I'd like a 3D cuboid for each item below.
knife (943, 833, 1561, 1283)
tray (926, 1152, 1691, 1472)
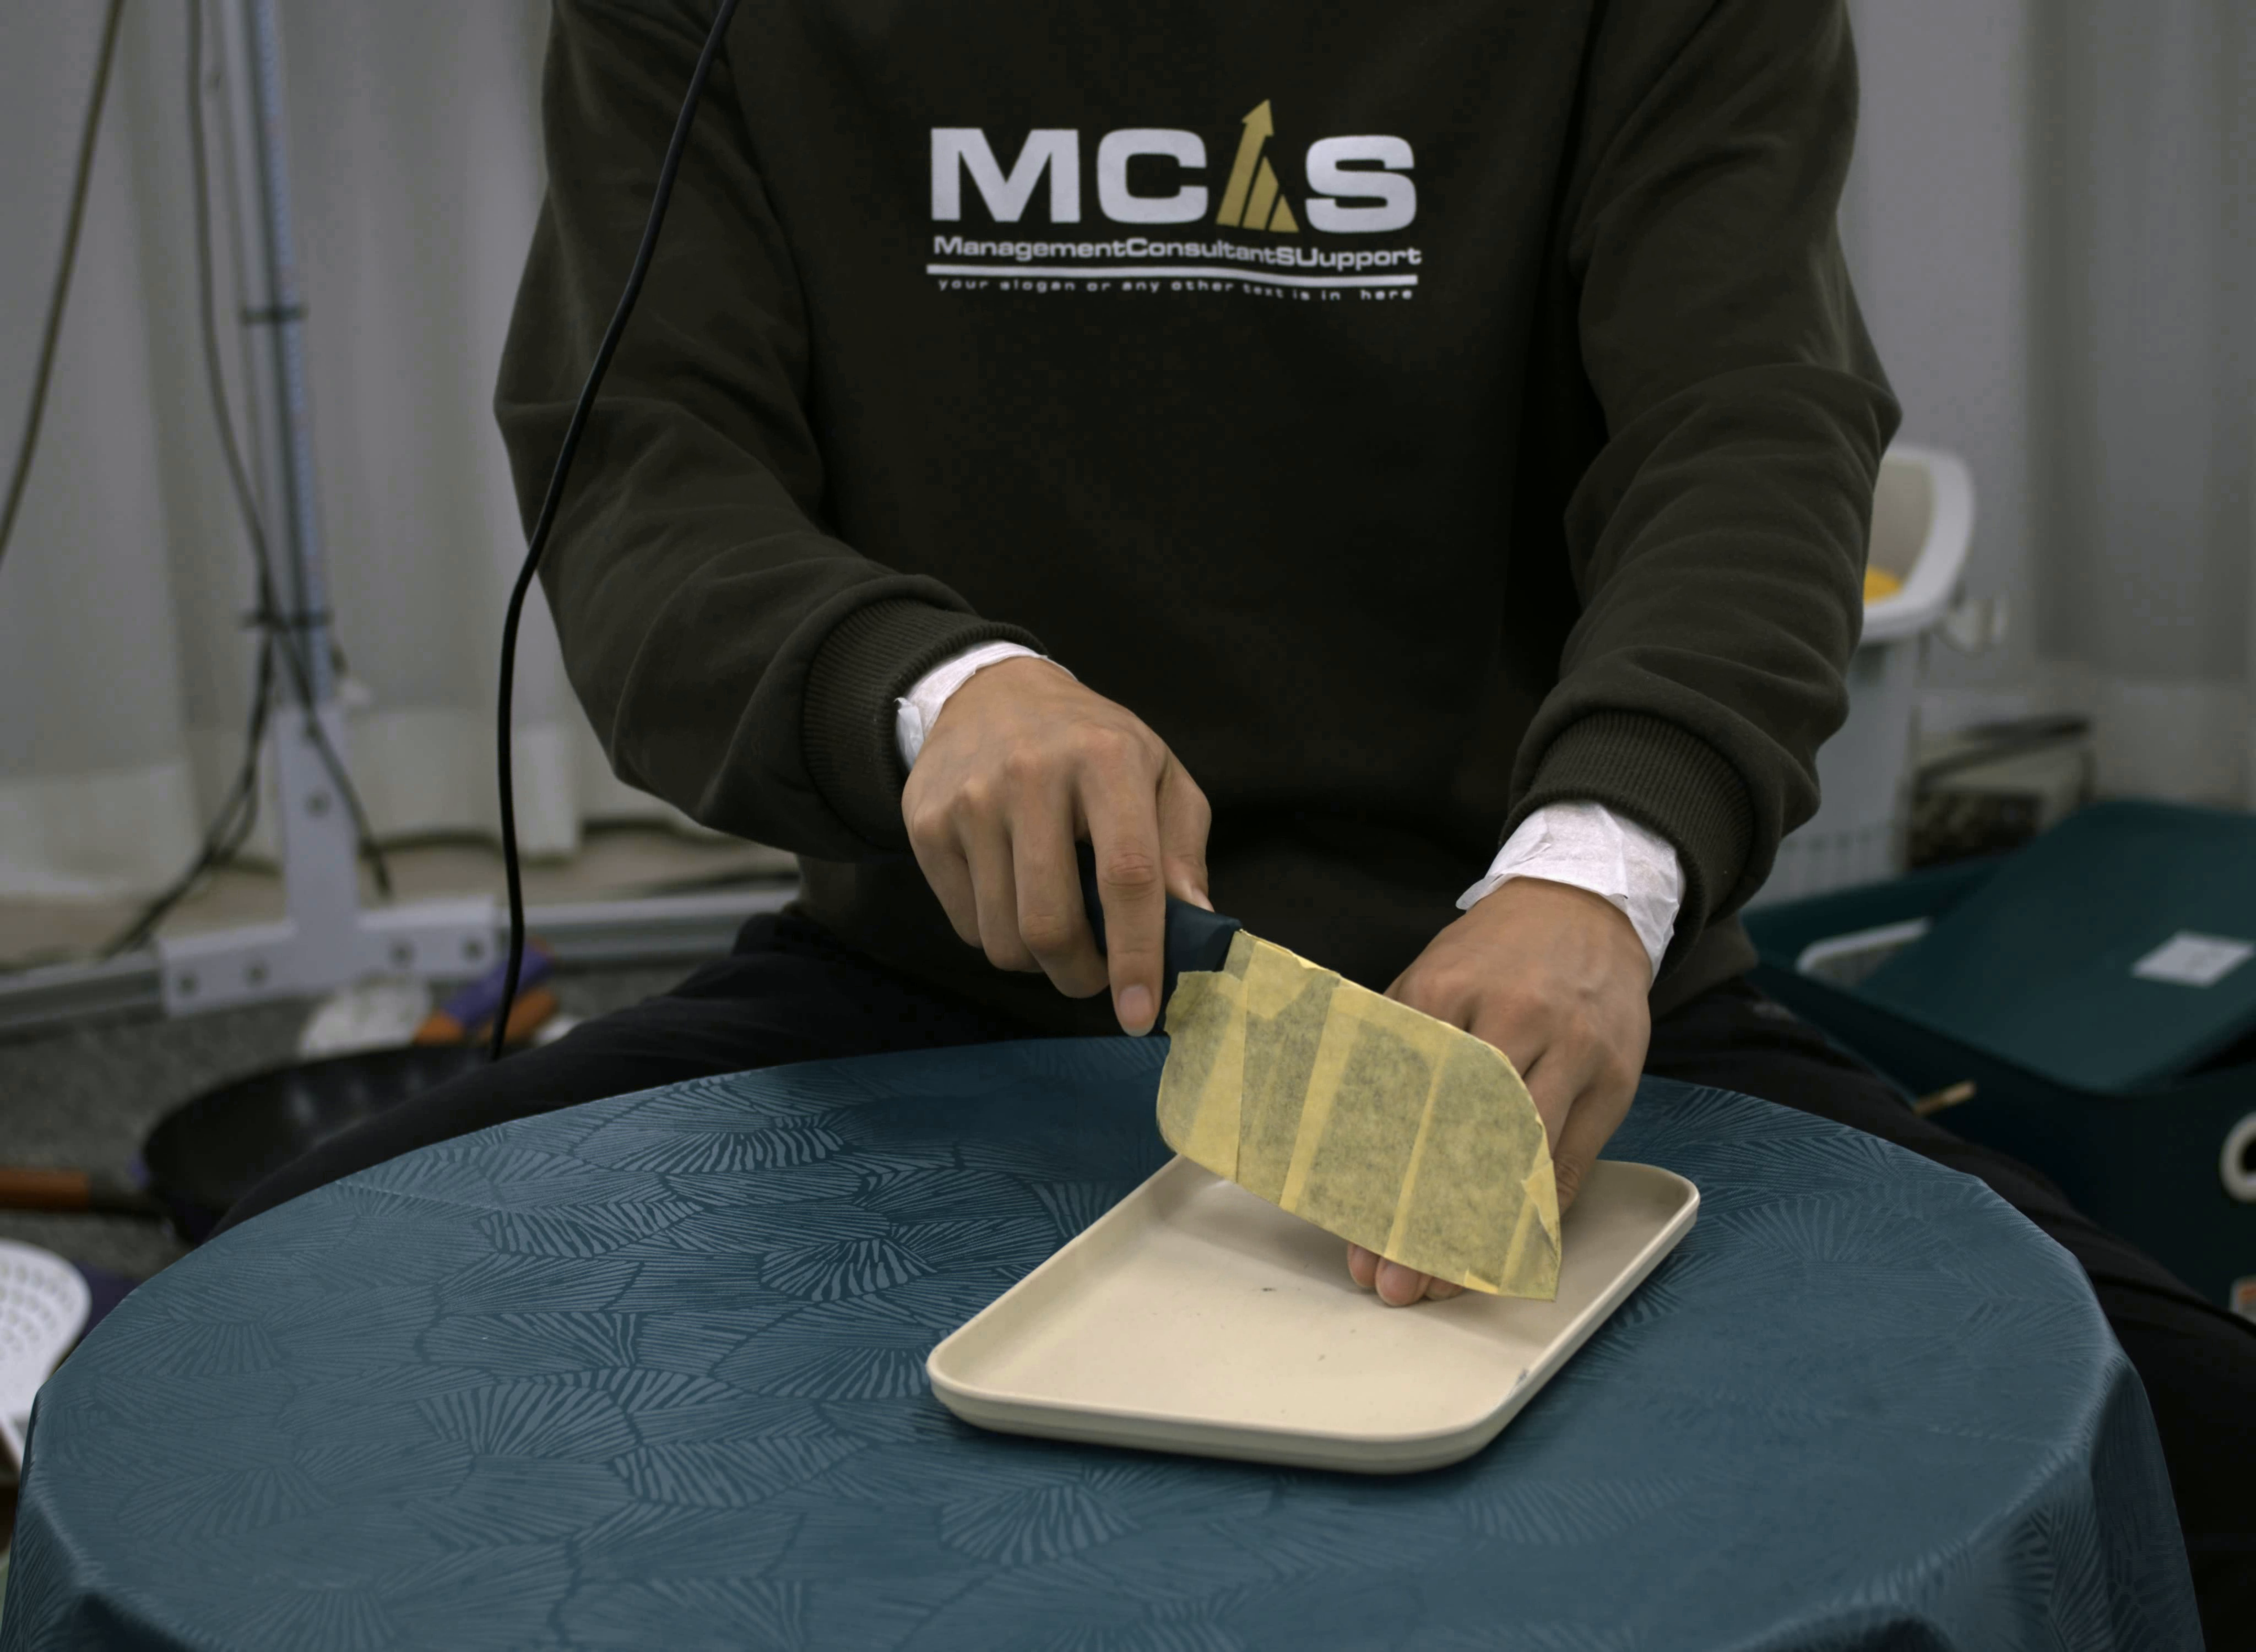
[{"bbox_3d":[0.033,0.066,1.648,0.027,0.081,0.292,10,13,-43],"label":"knife"},{"bbox_3d":[0.057,0.137,1.587,0.171,0.017,0.240,3,15,23],"label":"tray"}]
